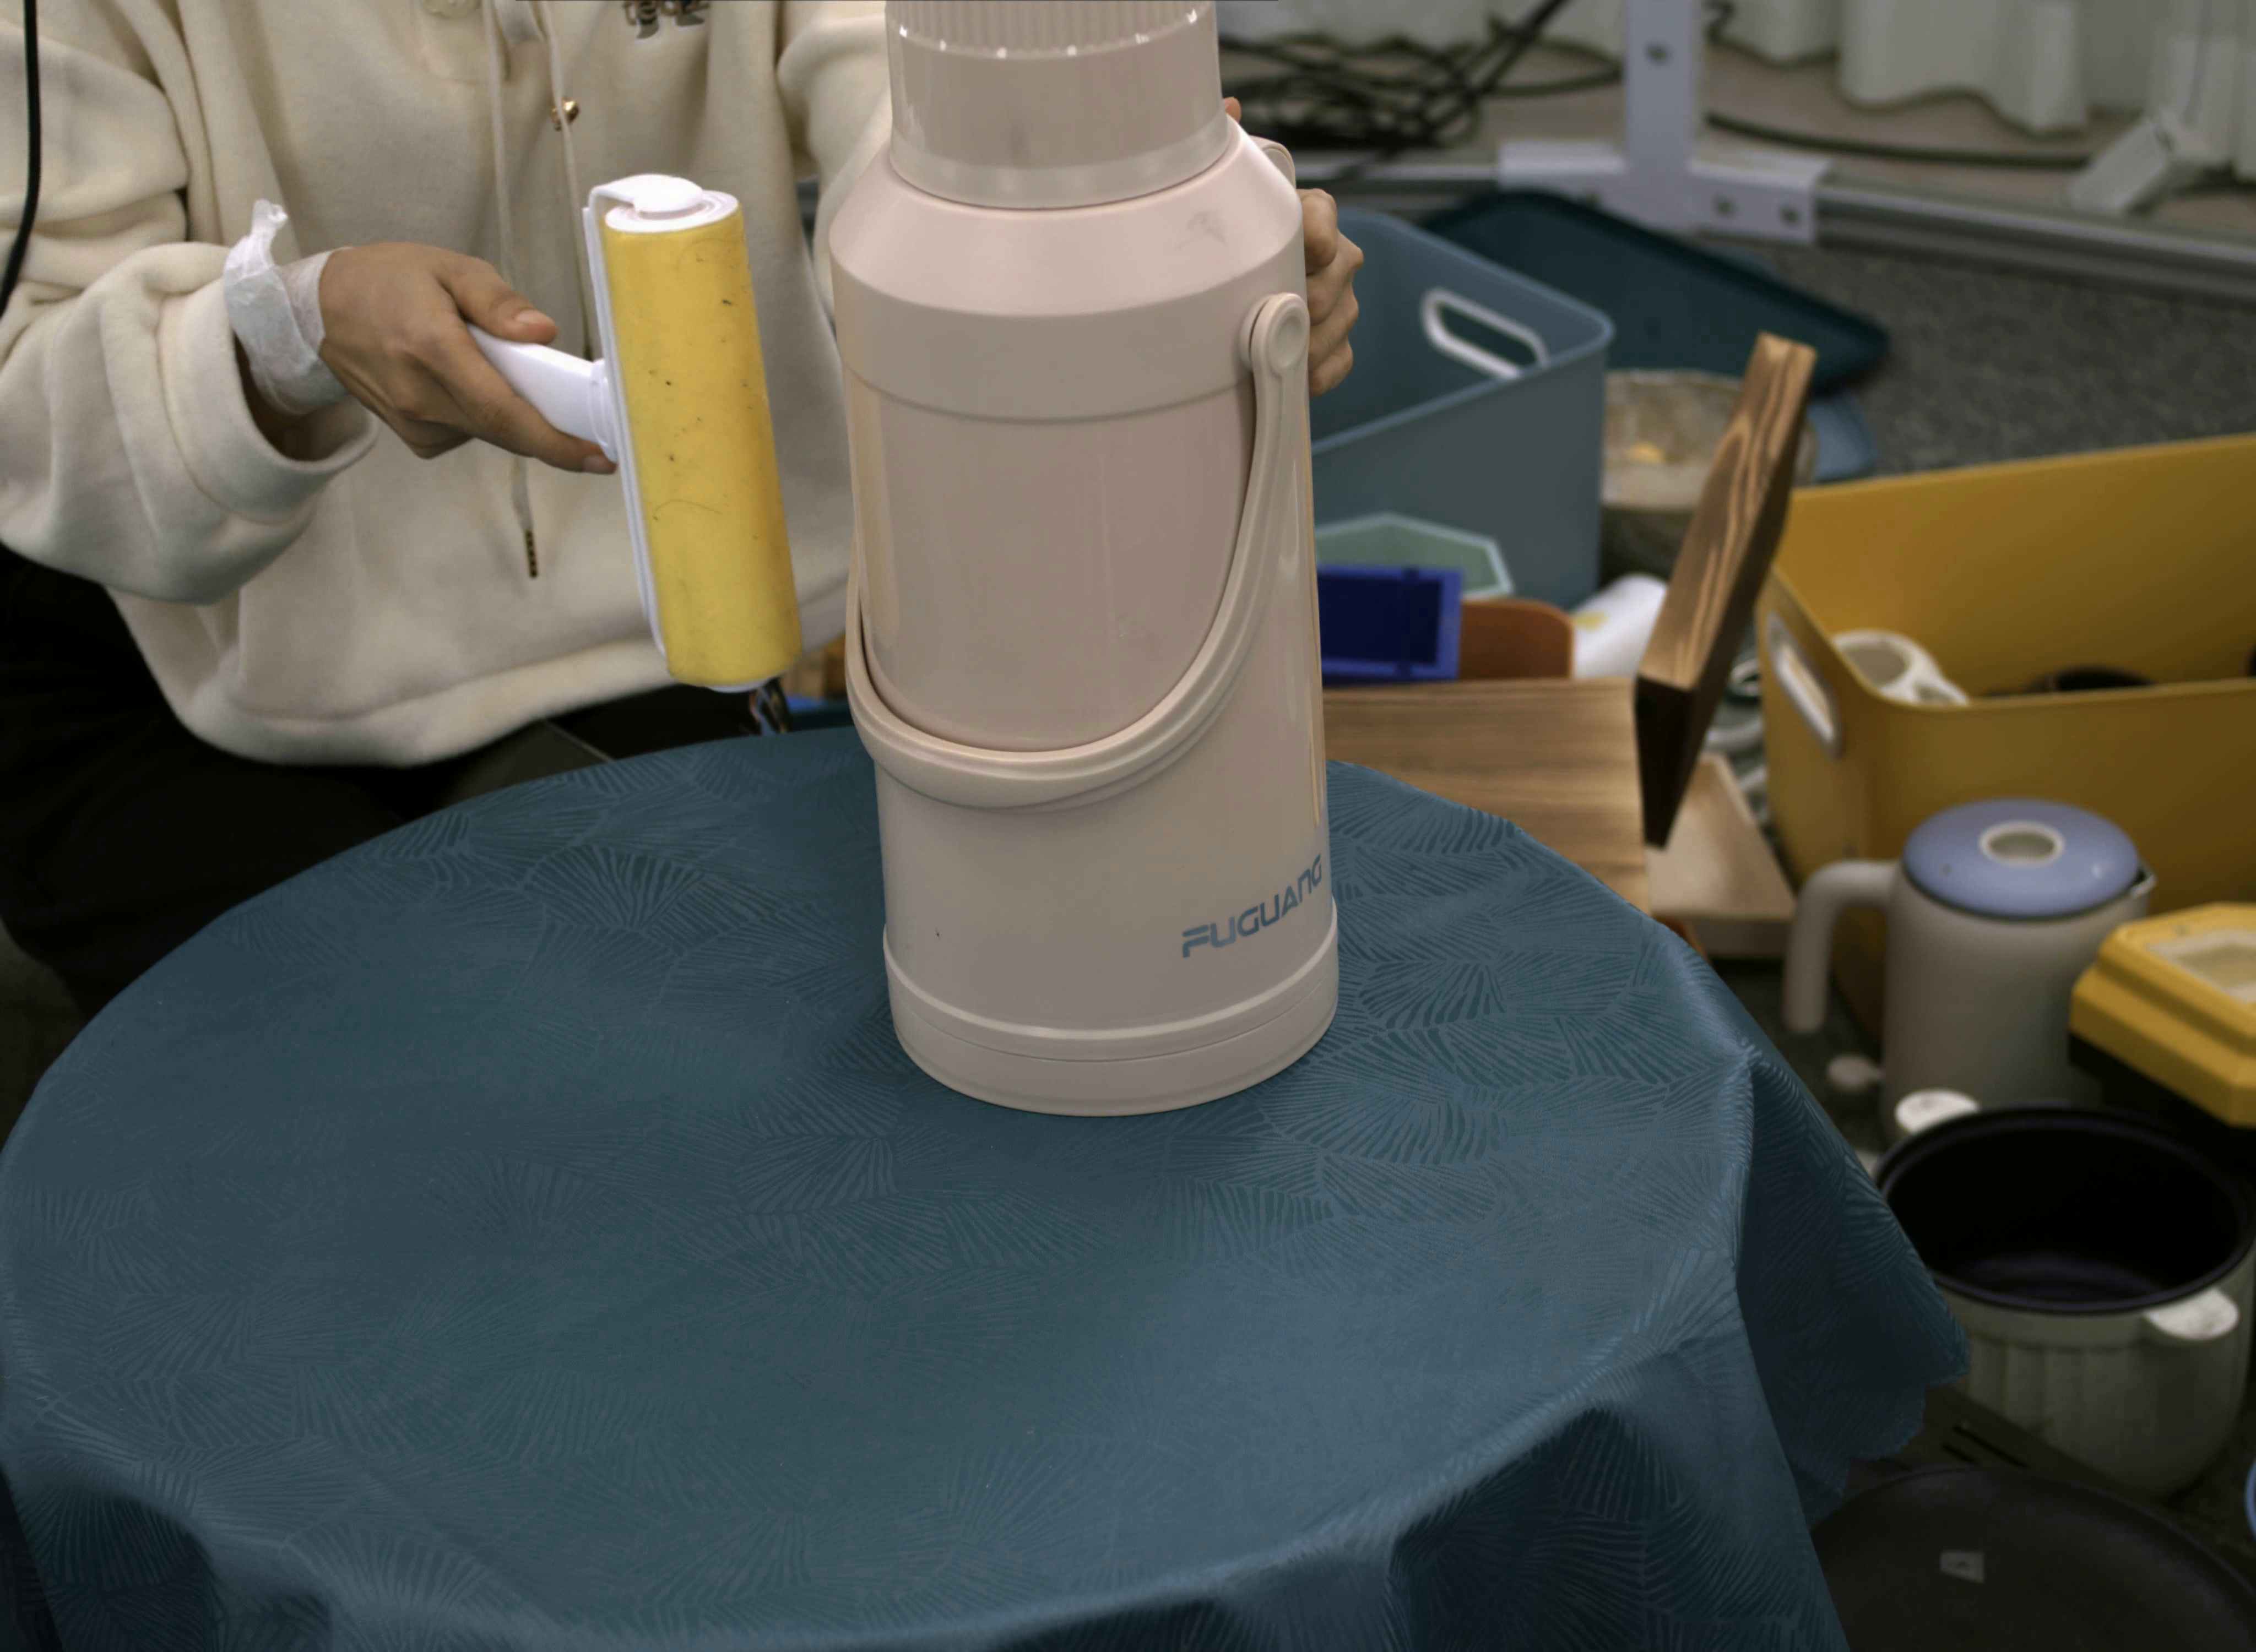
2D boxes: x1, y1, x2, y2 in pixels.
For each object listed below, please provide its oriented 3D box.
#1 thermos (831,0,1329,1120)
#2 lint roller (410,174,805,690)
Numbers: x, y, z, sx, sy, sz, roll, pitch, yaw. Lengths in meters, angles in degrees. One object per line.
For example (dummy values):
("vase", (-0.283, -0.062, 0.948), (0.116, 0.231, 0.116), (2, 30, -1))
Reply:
("thermos", (-0.007, -0.117, 1.899), (0.174, 0.402, 0.210), (14, 31, 33))
("lint roller", (-0.194, -0.142, 1.938), (0.191, 0.173, 0.052), (10, 26, 39))
